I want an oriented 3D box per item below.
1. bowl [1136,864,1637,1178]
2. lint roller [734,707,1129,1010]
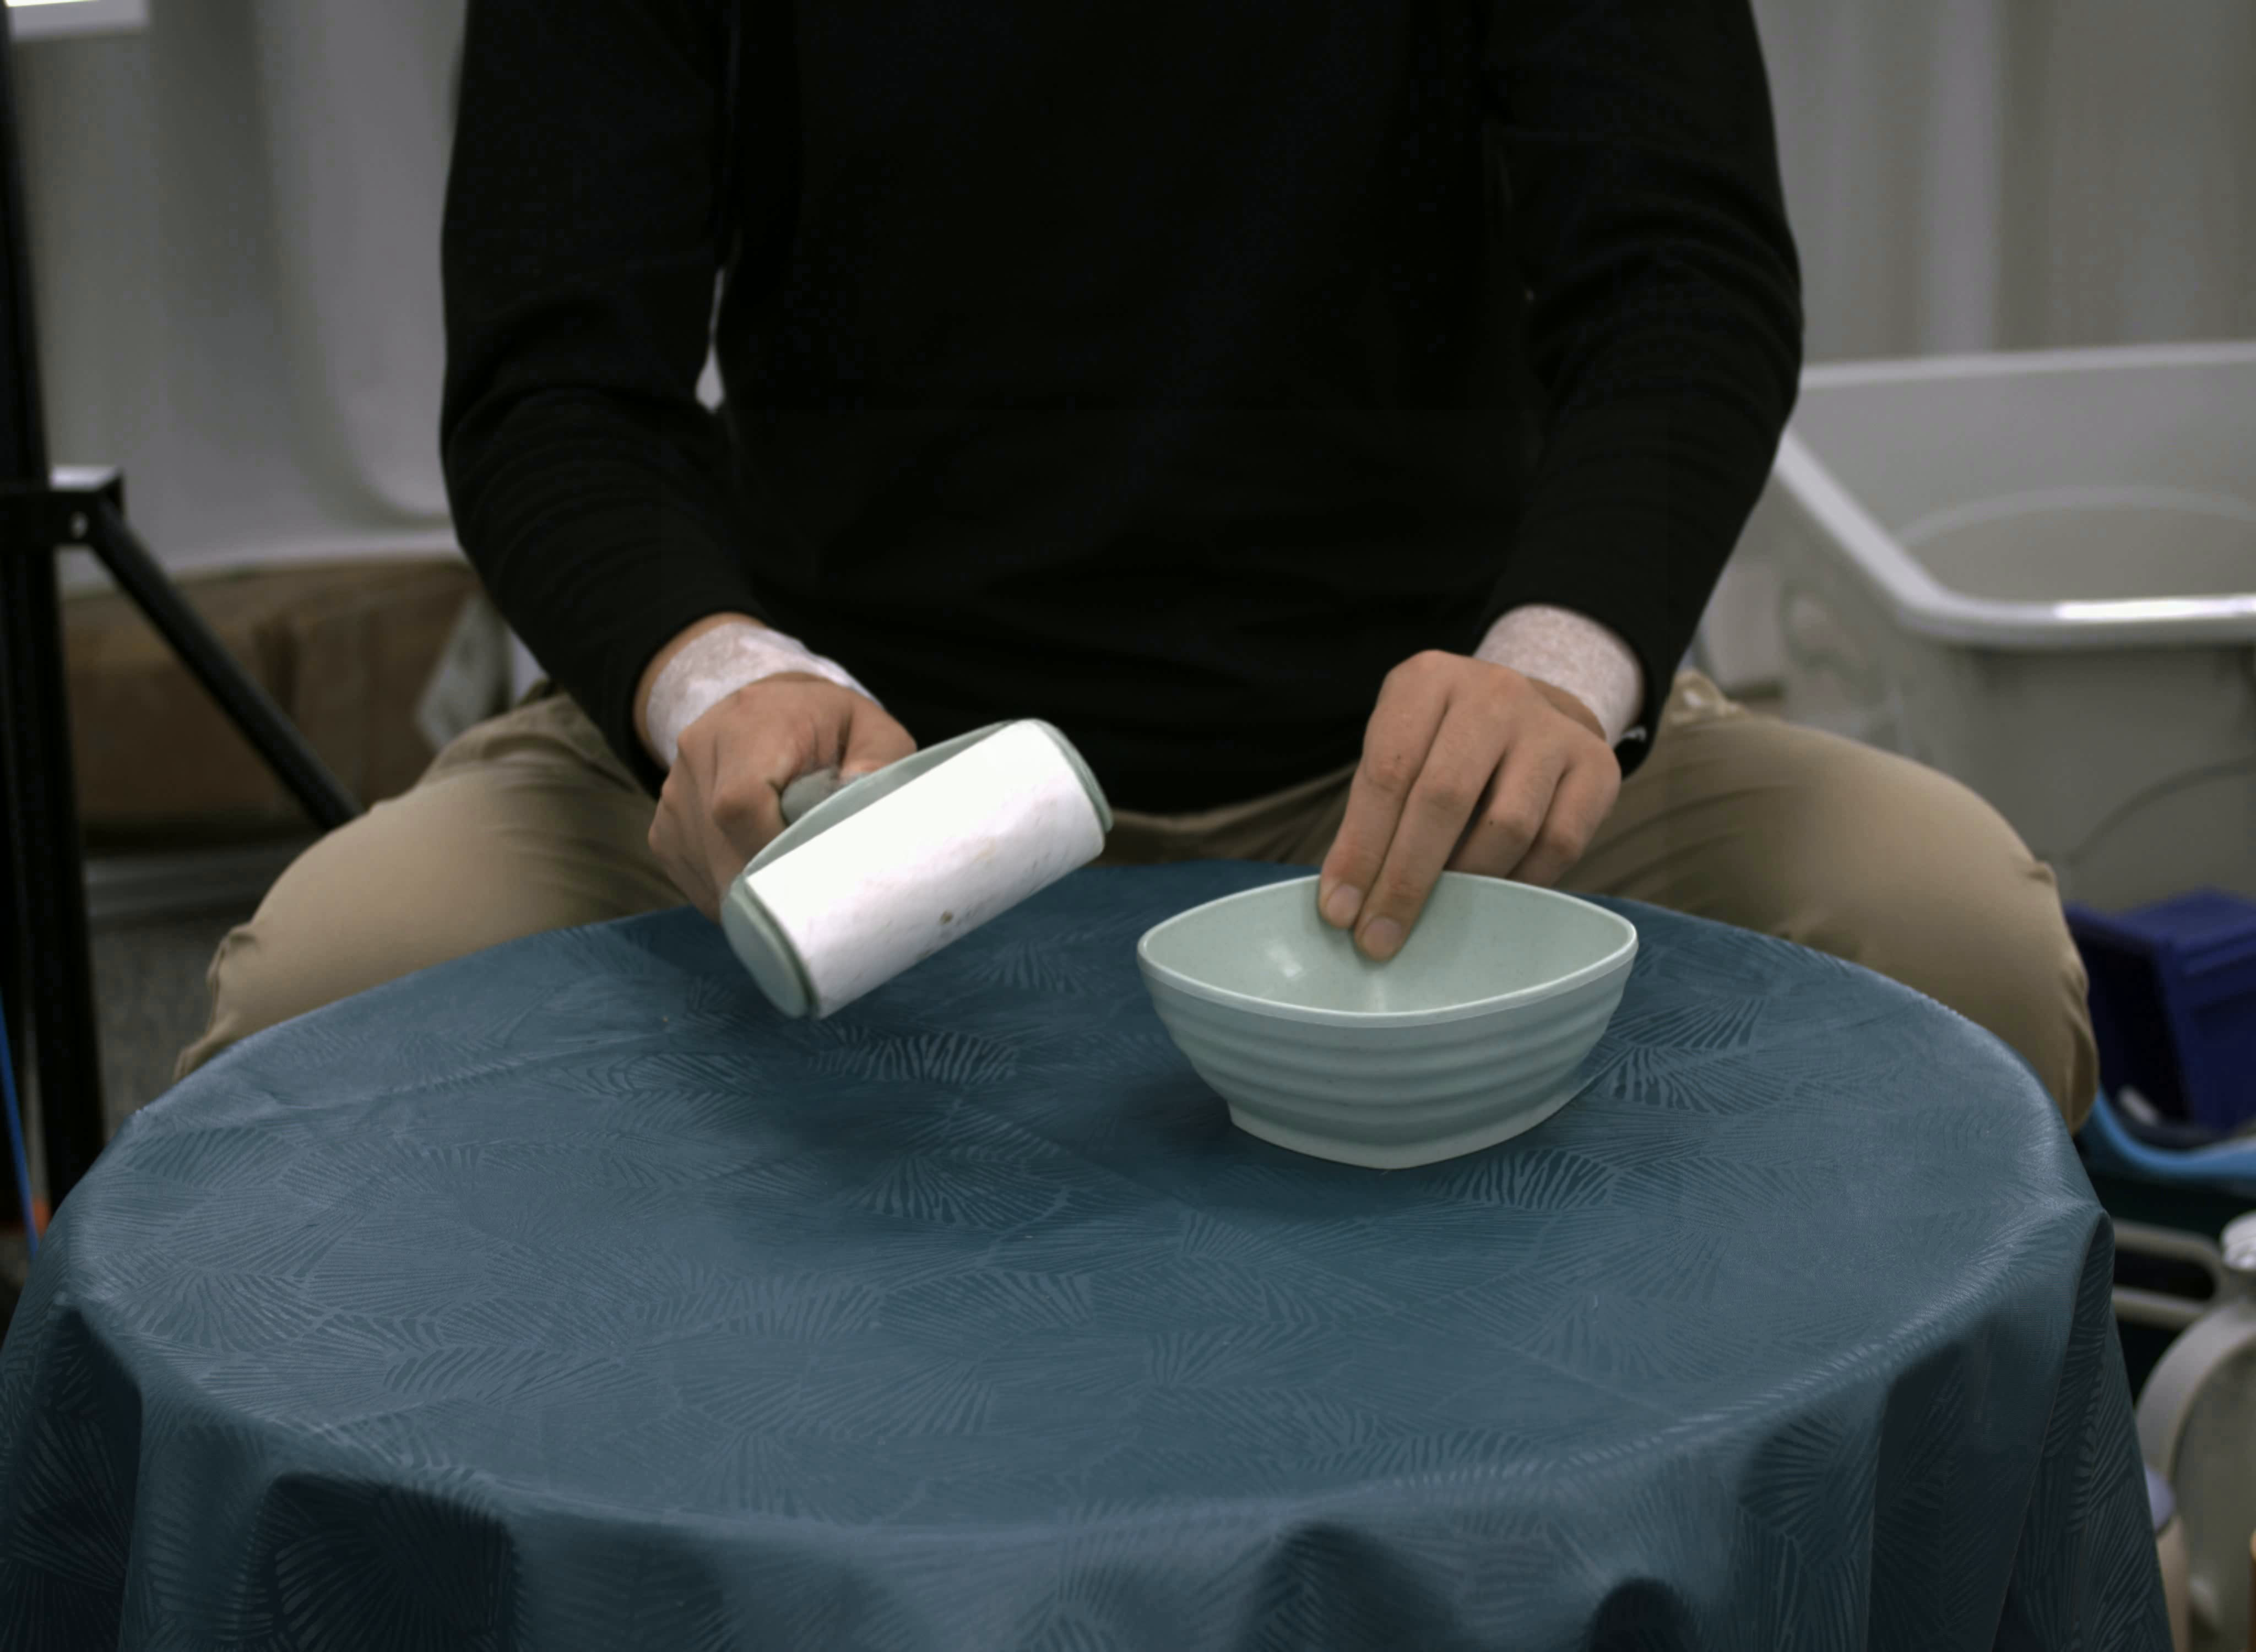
[{"bbox_3d":[0.079,0.062,1.604,0.150,0.058,0.152,-2,17,-1],"label":"bowl"},{"bbox_3d":[-0.079,0.003,1.652,0.115,0.048,0.200,-32,15,-13],"label":"lint roller"}]
